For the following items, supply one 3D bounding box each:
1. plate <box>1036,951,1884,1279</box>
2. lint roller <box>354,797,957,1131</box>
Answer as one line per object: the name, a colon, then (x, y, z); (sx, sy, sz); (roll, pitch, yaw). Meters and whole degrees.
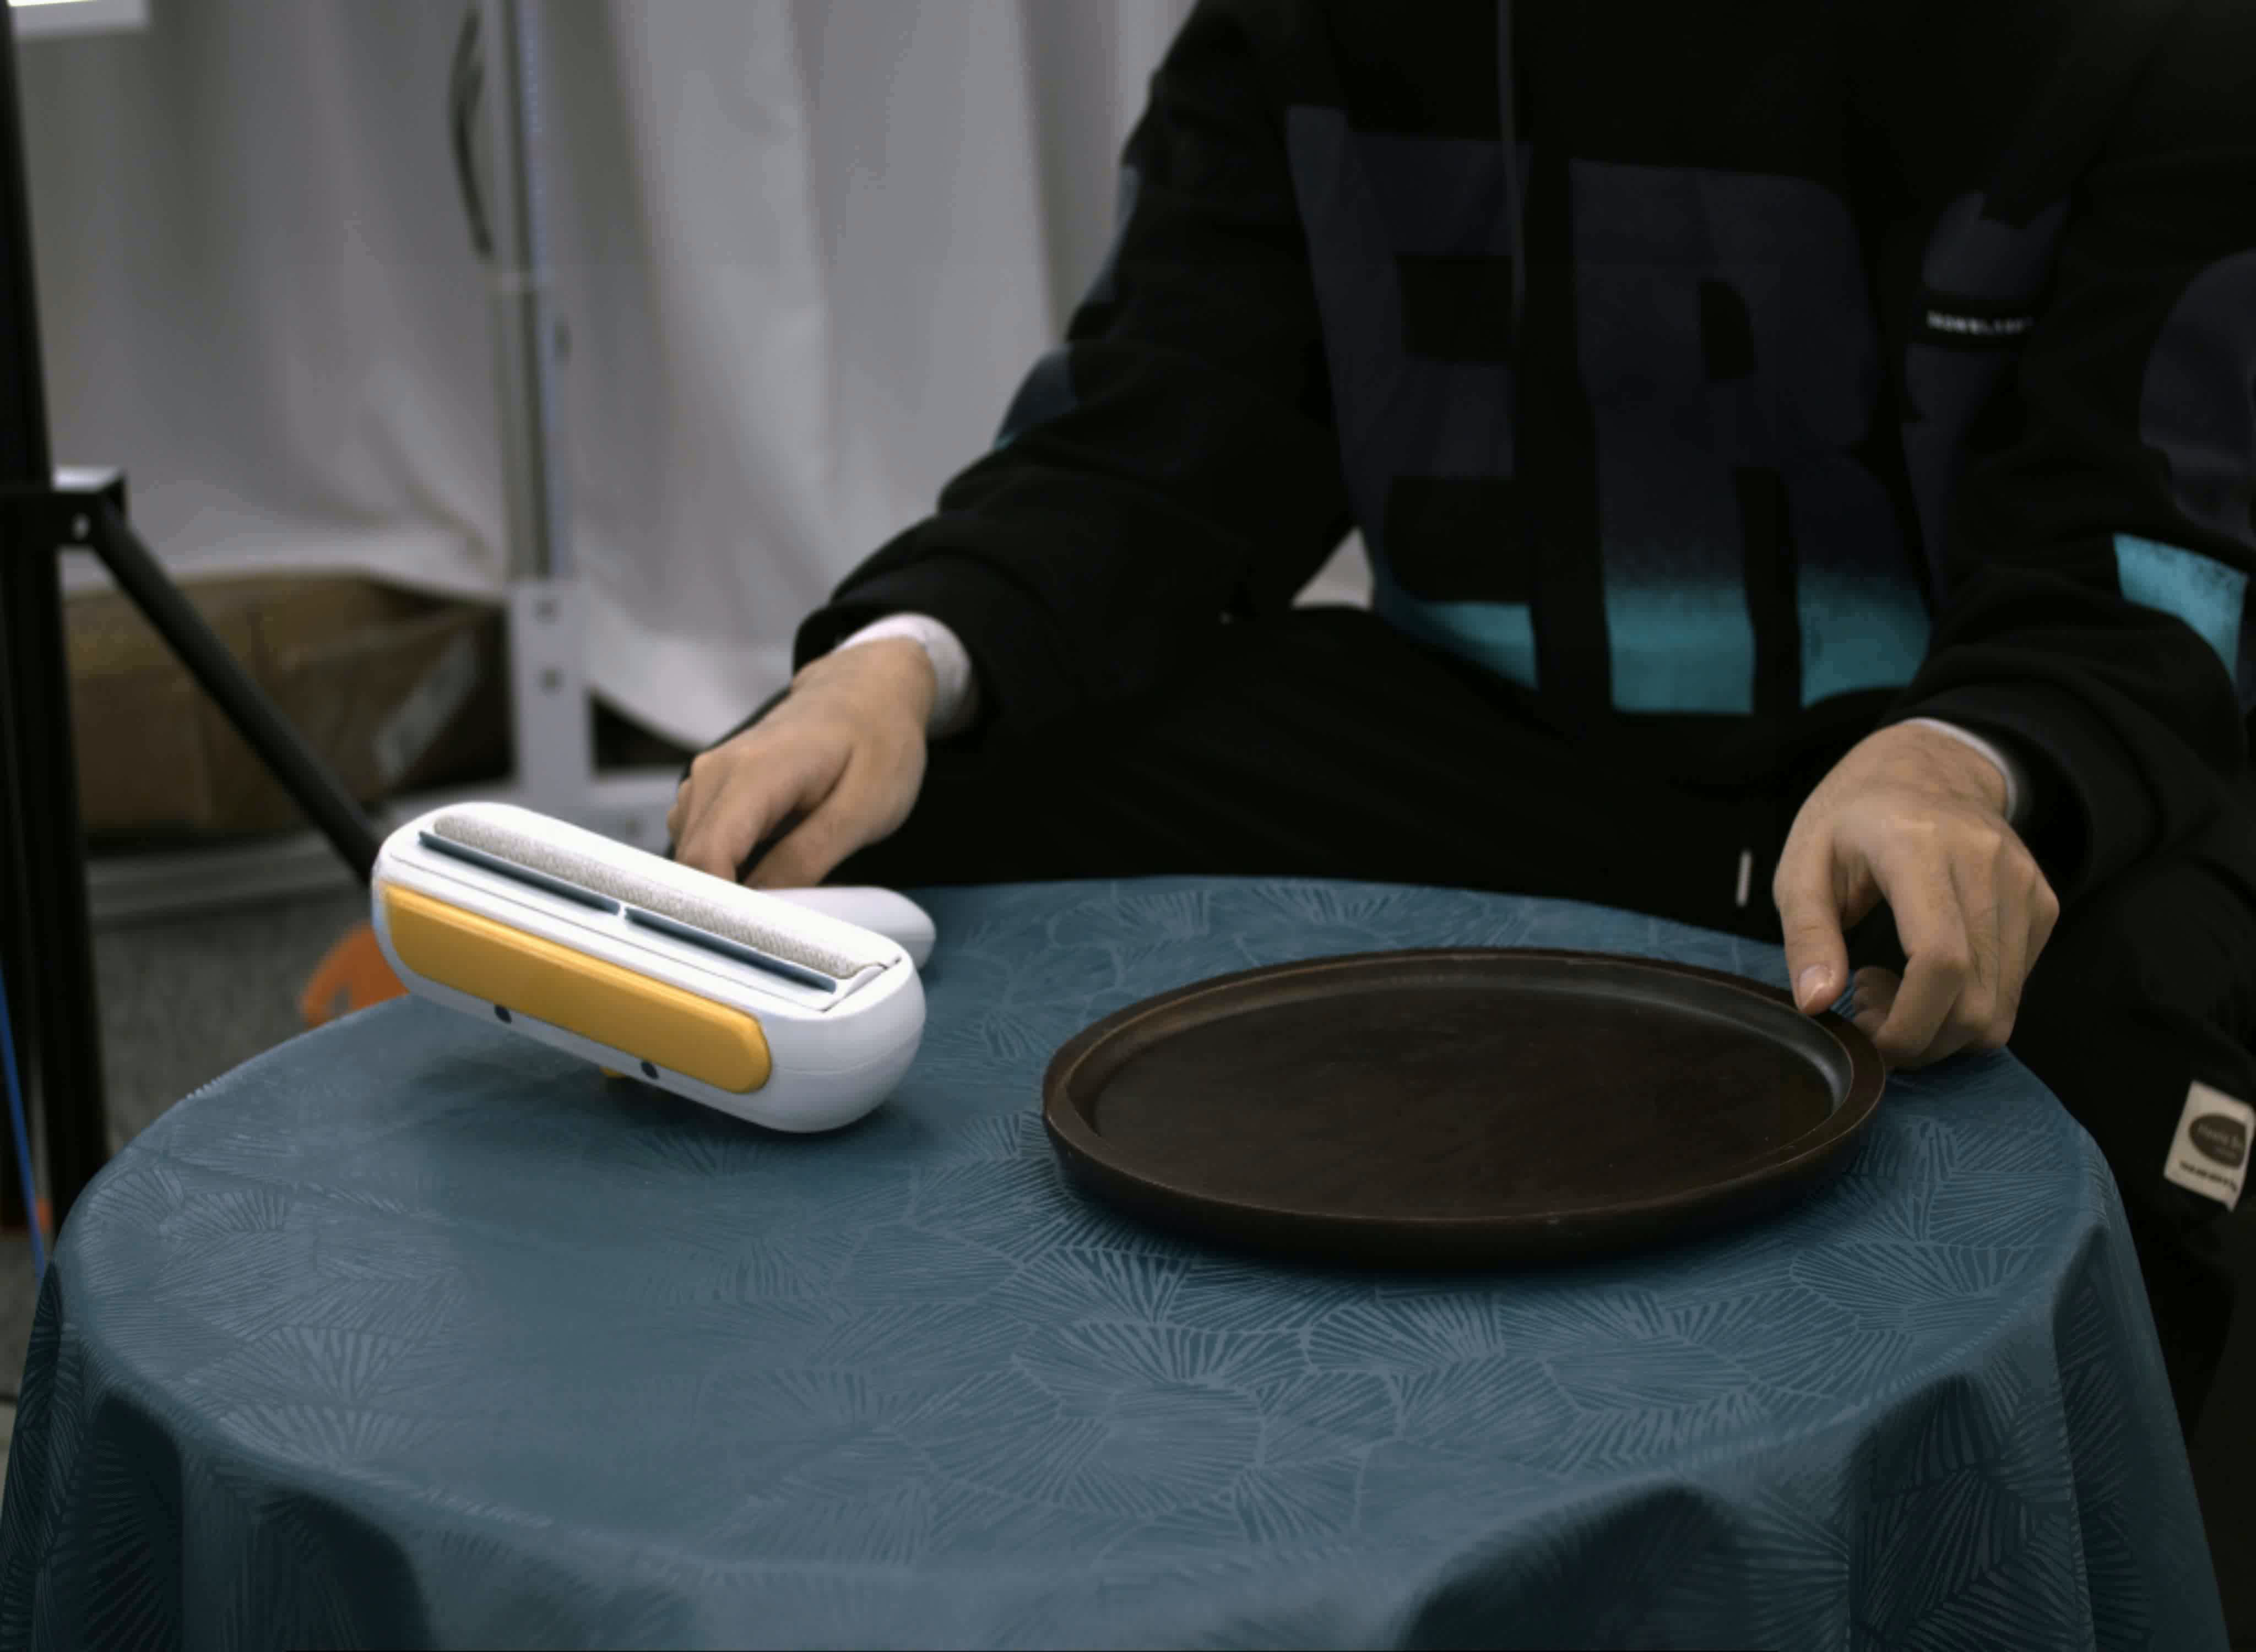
plate: (0.099, 0.084, 1.583); (0.253, 0.029, 0.256); (-3, 15, -1)
lint roller: (-0.124, 0.036, 1.711); (0.197, 0.074, 0.188); (15, 21, 34)
